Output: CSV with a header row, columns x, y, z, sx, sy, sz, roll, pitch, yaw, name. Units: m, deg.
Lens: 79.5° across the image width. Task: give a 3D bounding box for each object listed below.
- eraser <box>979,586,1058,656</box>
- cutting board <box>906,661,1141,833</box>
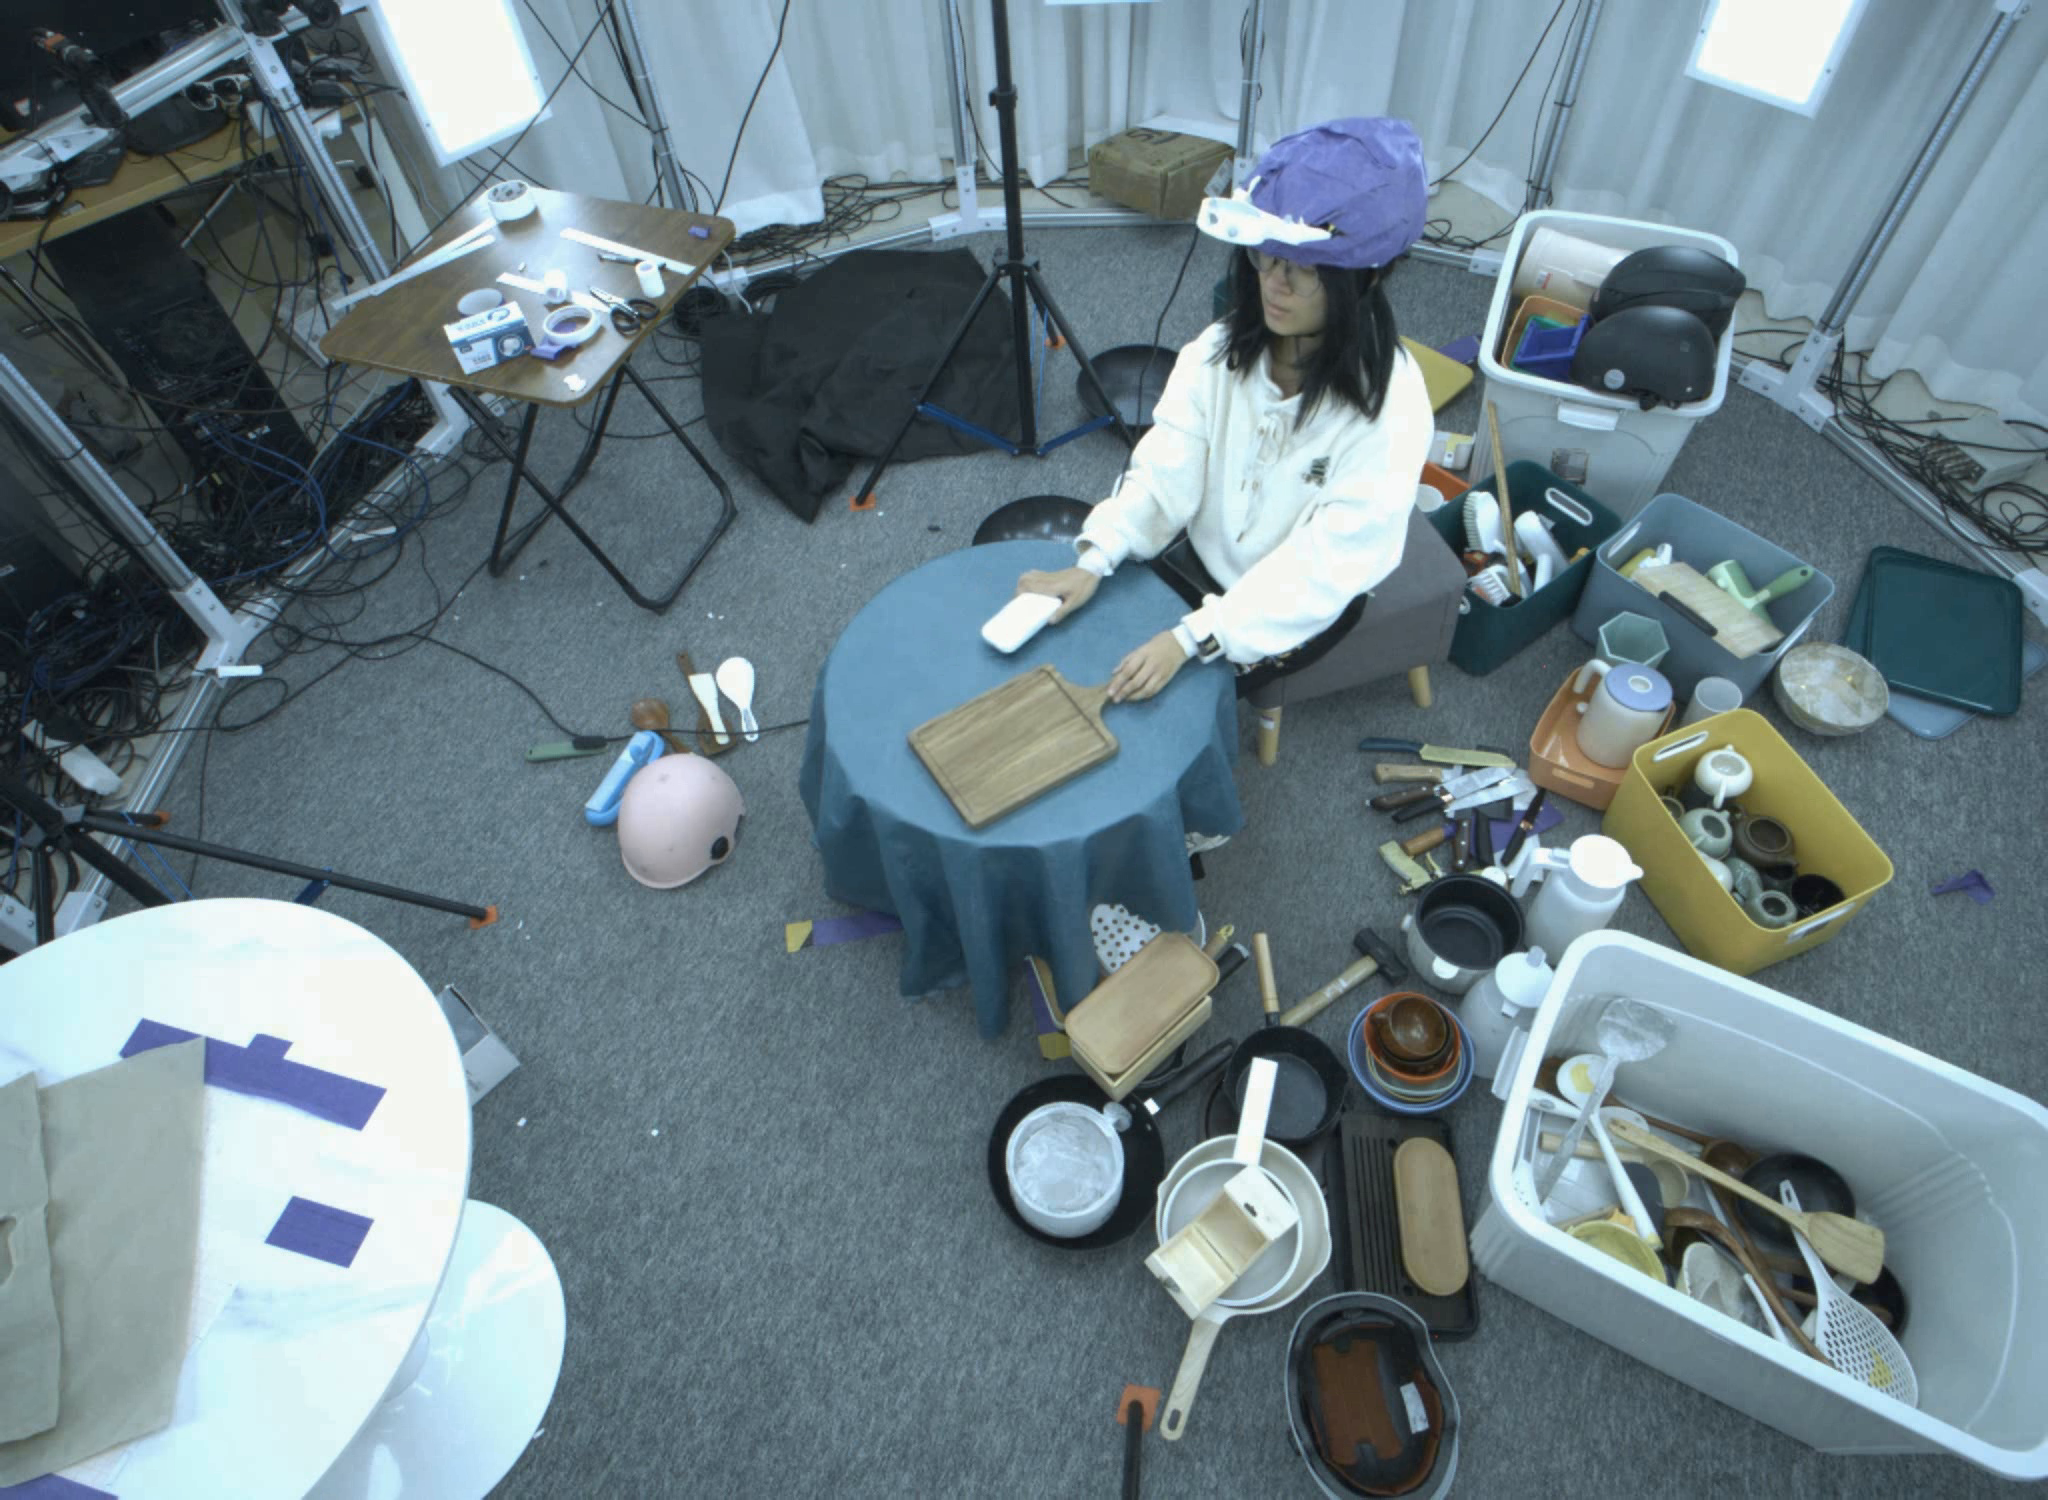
x,y,z,sx,sy,sz,roll,pitch,yaw,name
-0.007,-0.201,1.904,0.062,0.035,0.132,37,64,25,eraser
0.024,-0.033,1.798,0.355,0.023,0.197,-29,59,-17,cutting board
